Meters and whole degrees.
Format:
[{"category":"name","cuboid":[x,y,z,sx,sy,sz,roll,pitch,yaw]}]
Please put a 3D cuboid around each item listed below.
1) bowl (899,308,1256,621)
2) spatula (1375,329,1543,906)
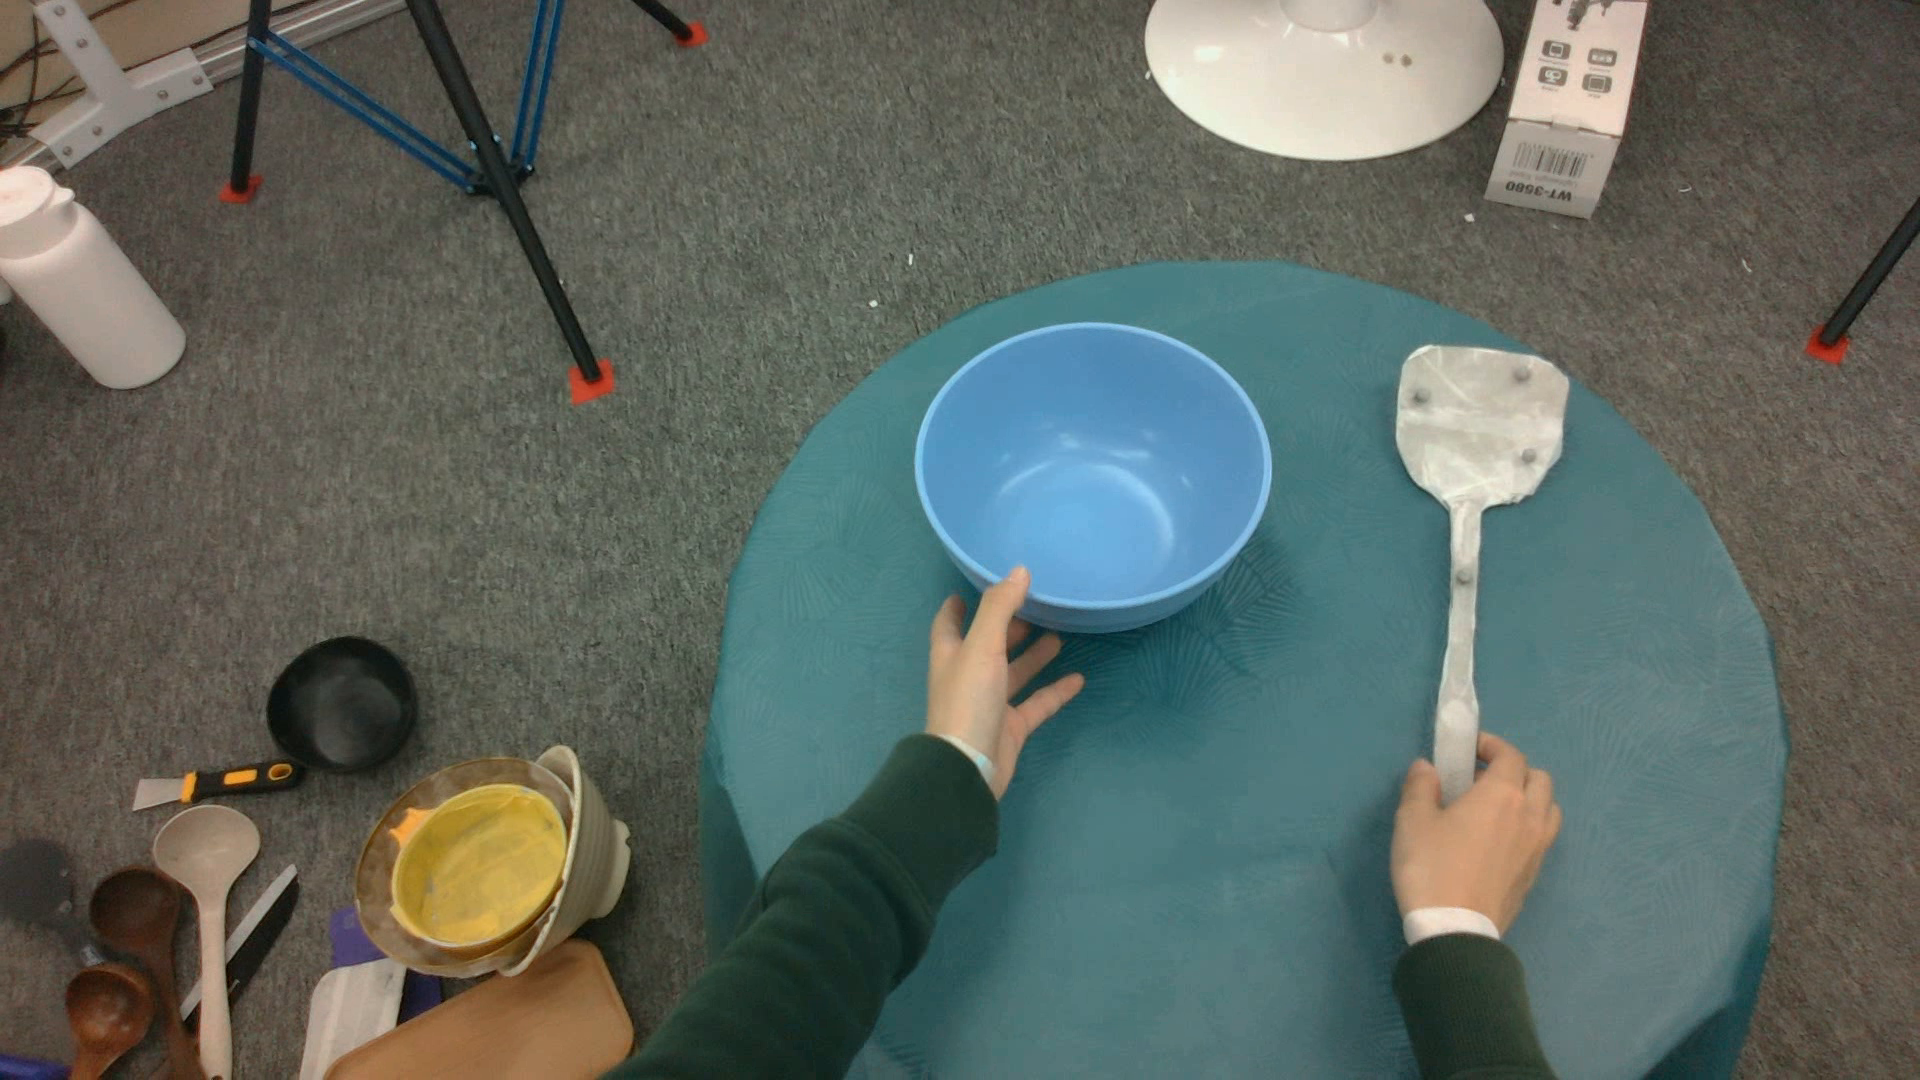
[{"category":"bowl","cuboid":[0.065,-0.029,0.795,0.196,0.095,0.197,0,56,0]},{"category":"spatula","cuboid":[0.270,0.030,0.782,0.098,0.044,0.366,12,58,9]}]
